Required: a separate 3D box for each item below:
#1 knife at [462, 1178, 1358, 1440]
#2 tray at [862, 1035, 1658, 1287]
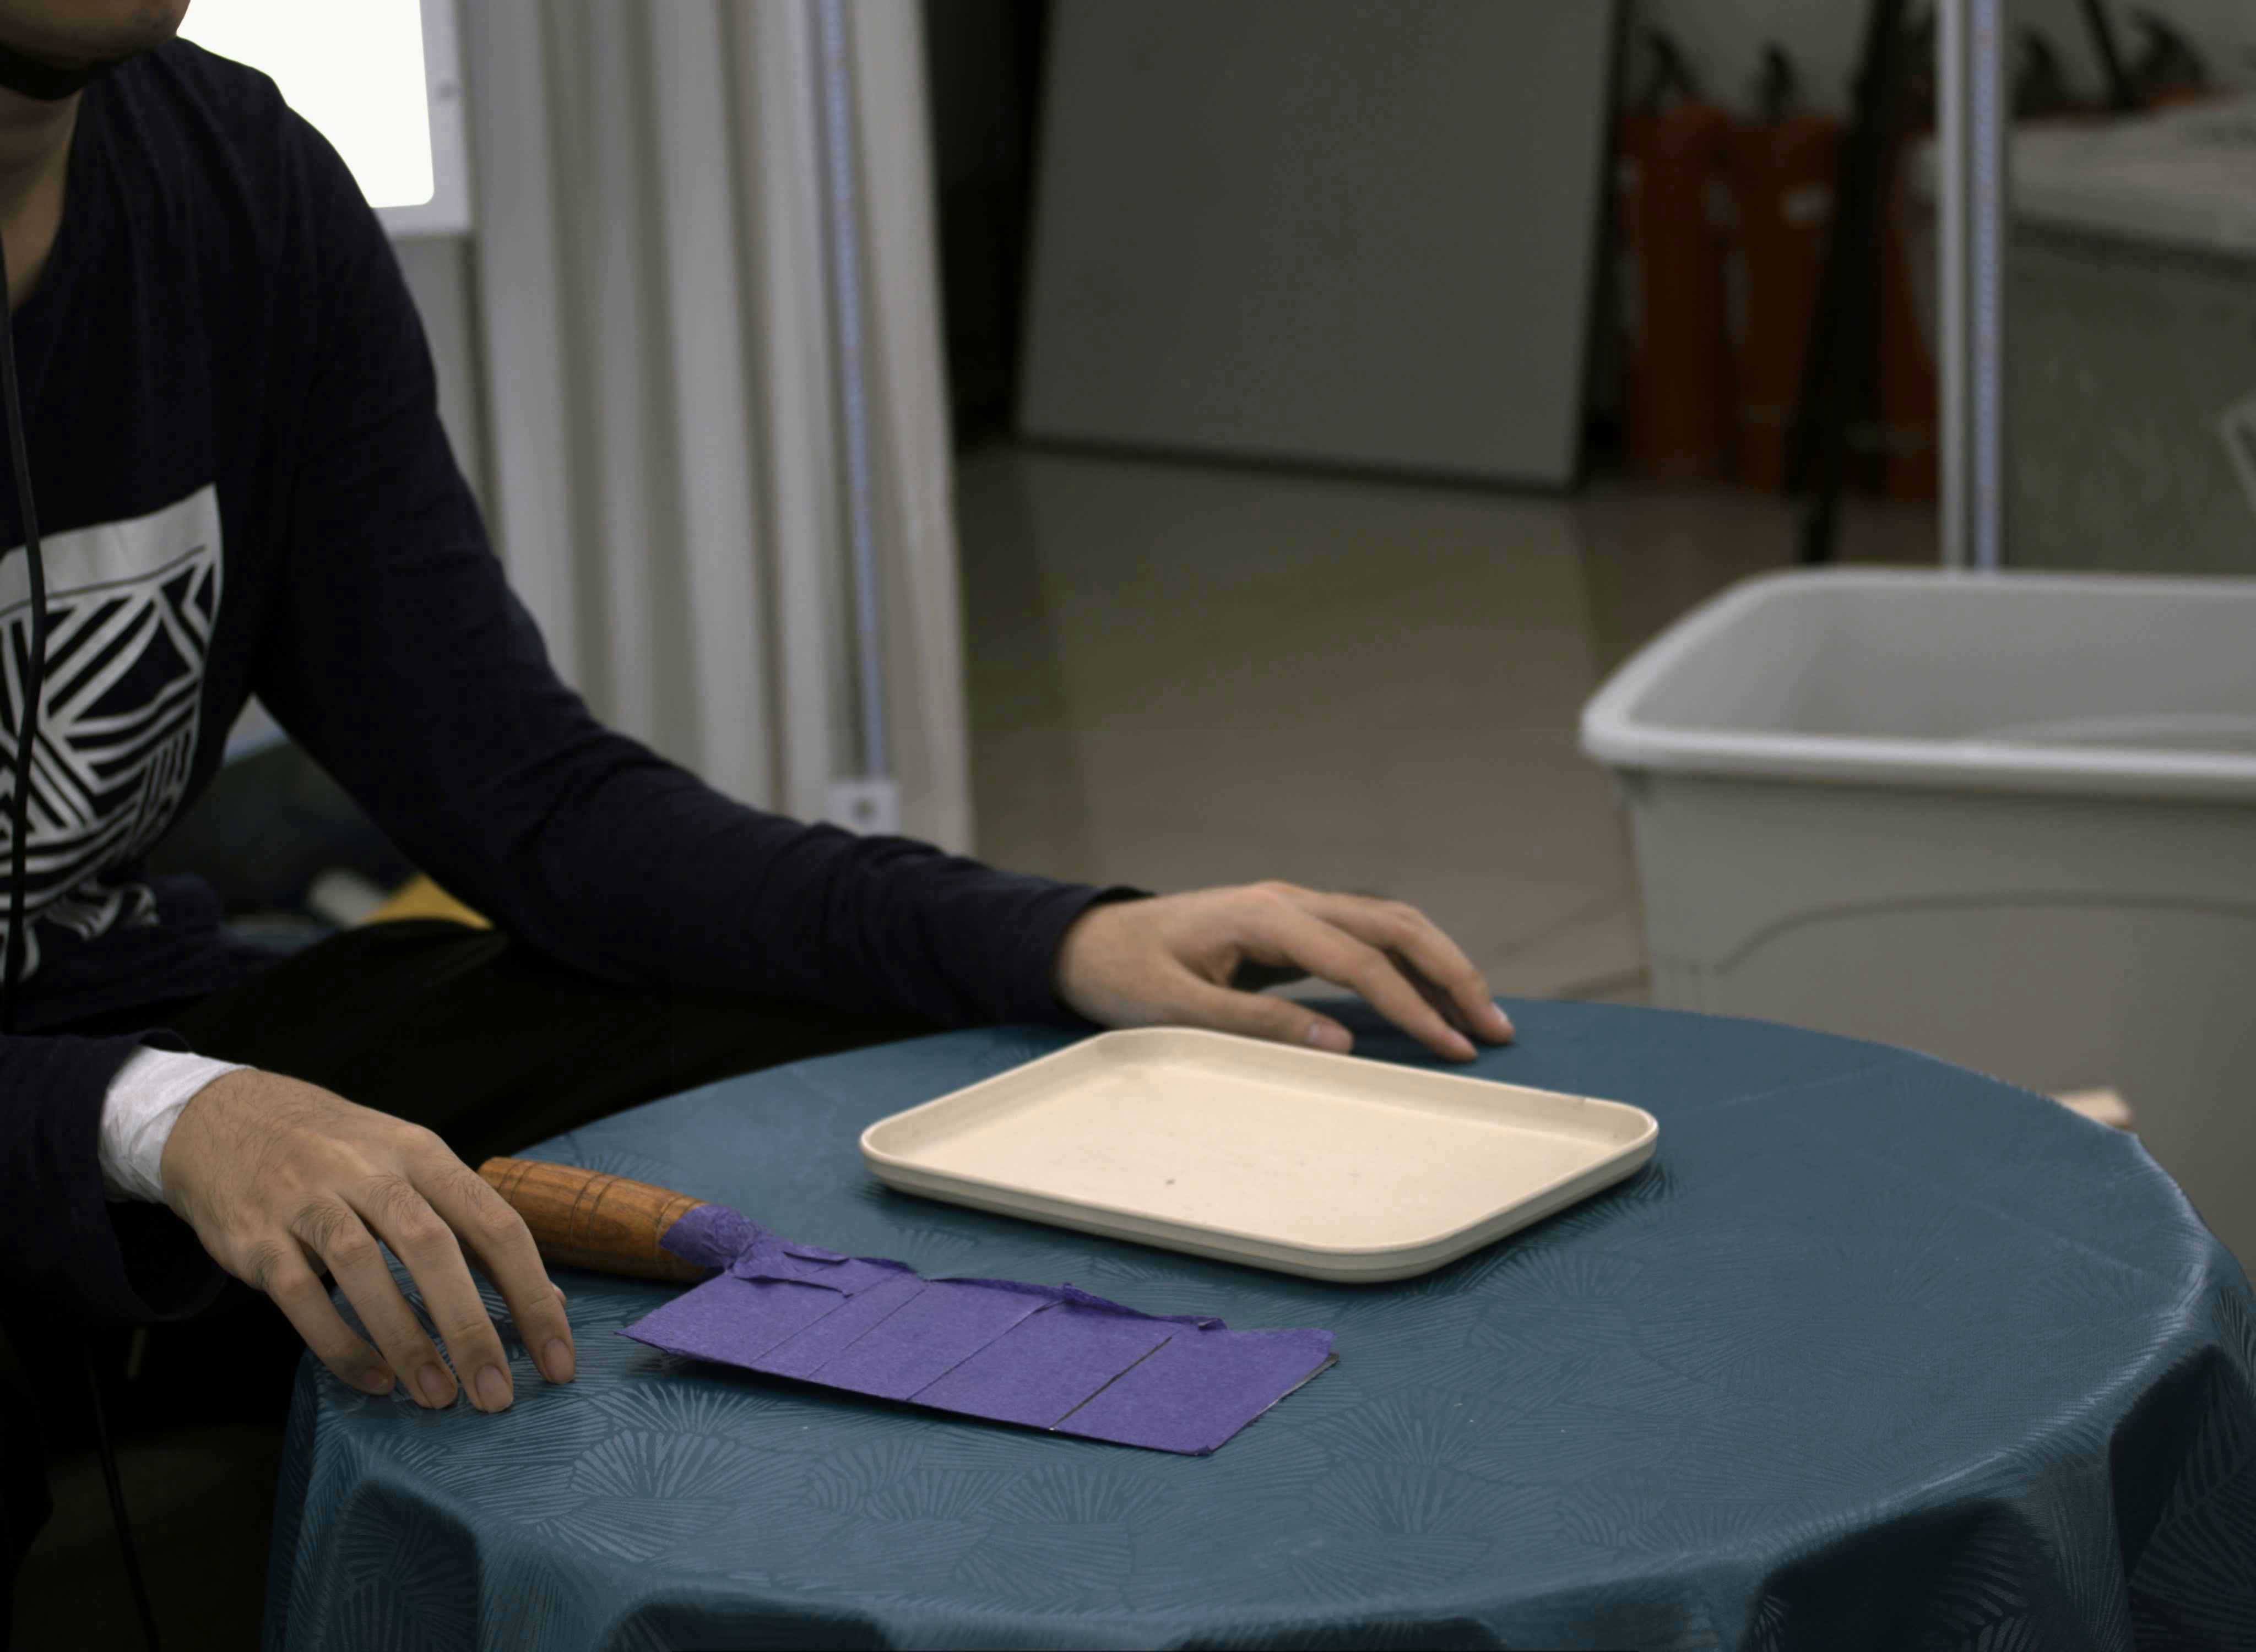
[{"bbox_3d":[-0.088,0.146,1.643,0.316,0.032,0.102,5,16,31],"label":"knife"},{"bbox_3d":[0.043,0.109,1.775,0.241,0.017,0.168,7,18,41],"label":"tray"}]
